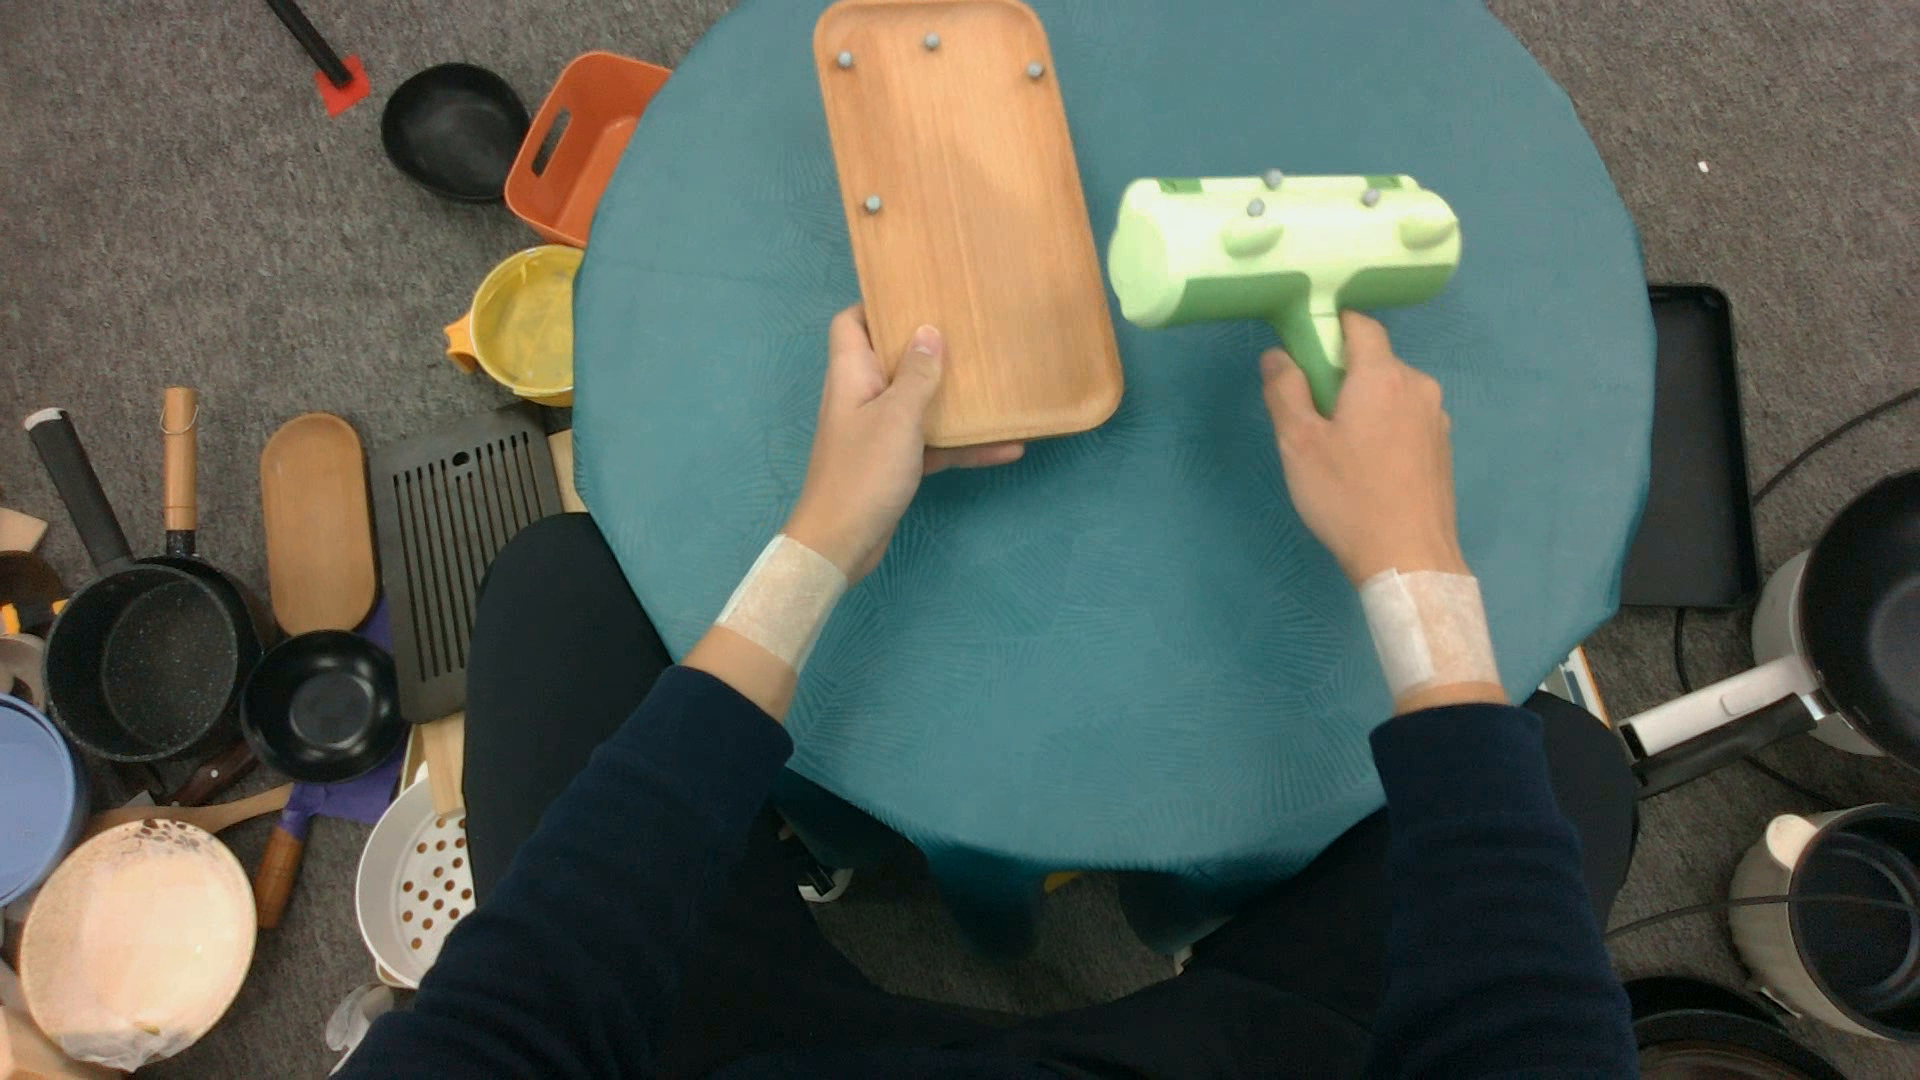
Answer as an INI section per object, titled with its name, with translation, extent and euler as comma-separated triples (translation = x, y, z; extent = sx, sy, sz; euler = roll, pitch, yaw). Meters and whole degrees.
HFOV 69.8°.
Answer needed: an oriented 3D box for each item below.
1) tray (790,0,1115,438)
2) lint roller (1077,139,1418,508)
[tray]
translation = -0.005, -0.175, 0.700
extent = 0.131, 0.023, 0.251
euler = -10, 81, -13
[lint roller]
translation = 0.167, -0.110, 0.642
extent = 0.199, 0.082, 0.183
euler = -13, 70, -34
